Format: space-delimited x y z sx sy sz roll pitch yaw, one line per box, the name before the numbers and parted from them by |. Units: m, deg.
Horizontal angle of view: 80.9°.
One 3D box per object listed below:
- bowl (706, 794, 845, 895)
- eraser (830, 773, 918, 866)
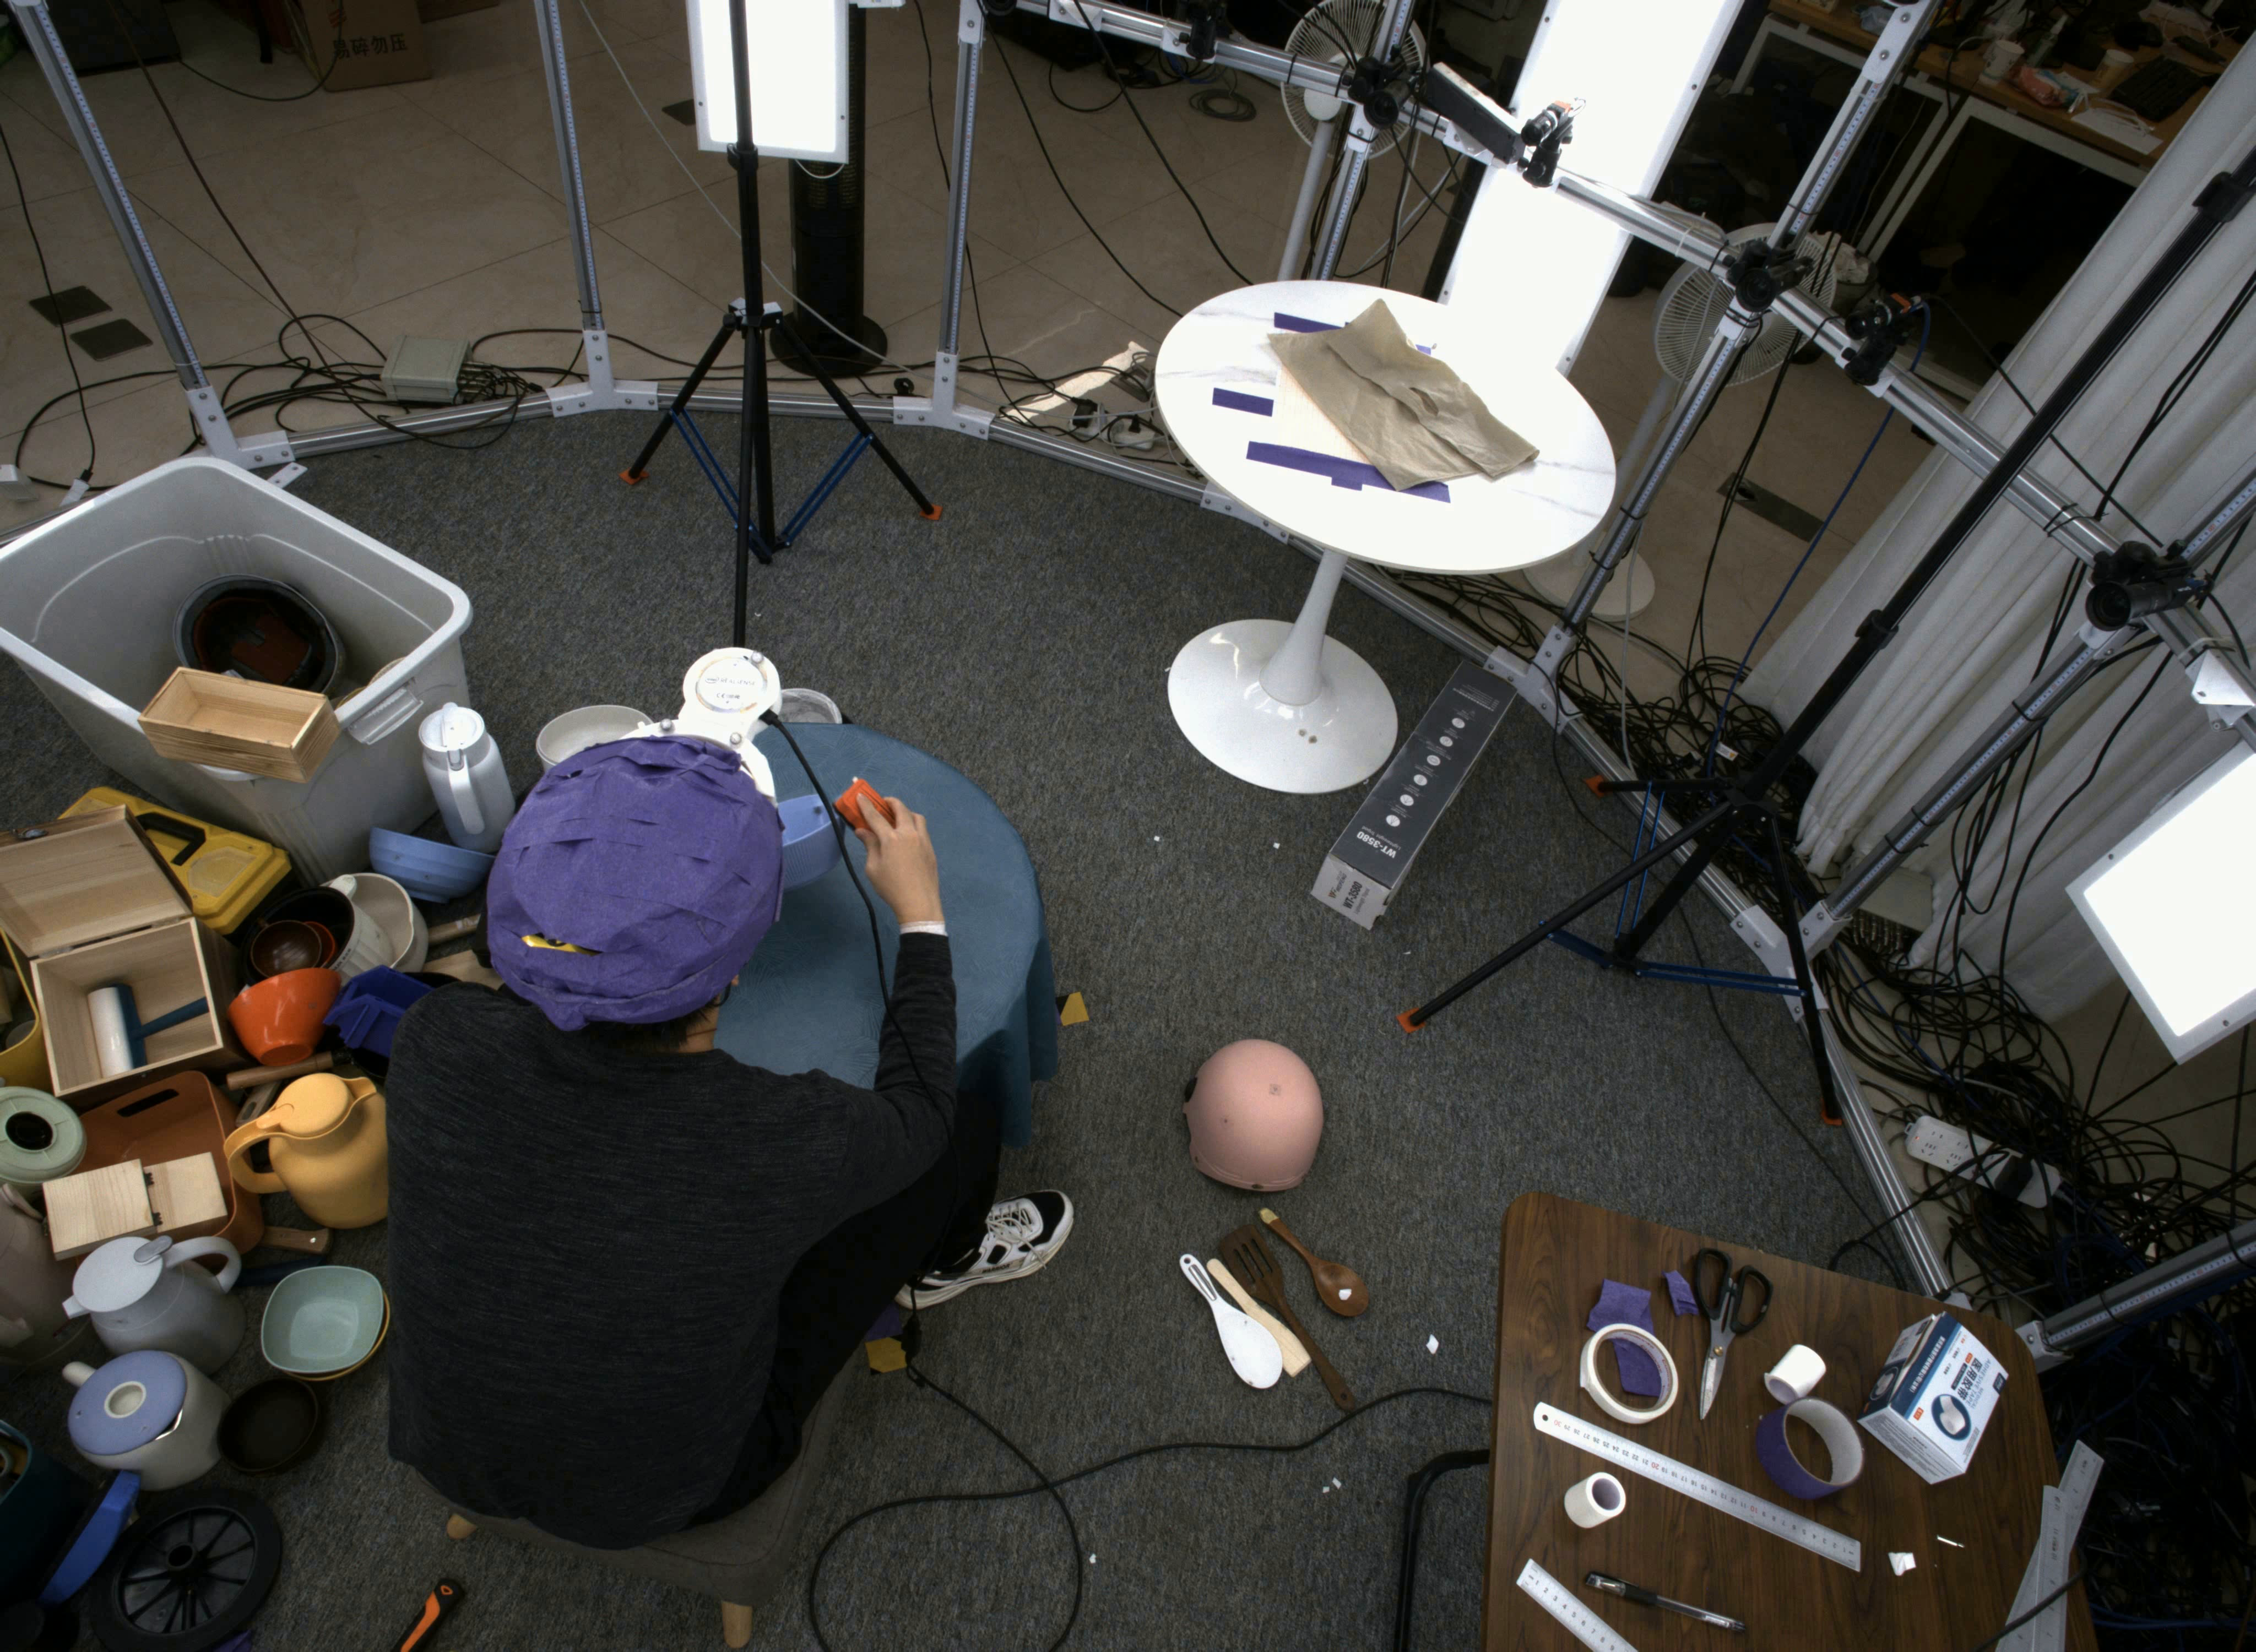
bowl | -0.412 0.026 1.559 0.173 0.072 0.173 -13 21 7
eraser | -0.302 -0.009 1.543 0.110 0.022 0.058 49 30 -13
